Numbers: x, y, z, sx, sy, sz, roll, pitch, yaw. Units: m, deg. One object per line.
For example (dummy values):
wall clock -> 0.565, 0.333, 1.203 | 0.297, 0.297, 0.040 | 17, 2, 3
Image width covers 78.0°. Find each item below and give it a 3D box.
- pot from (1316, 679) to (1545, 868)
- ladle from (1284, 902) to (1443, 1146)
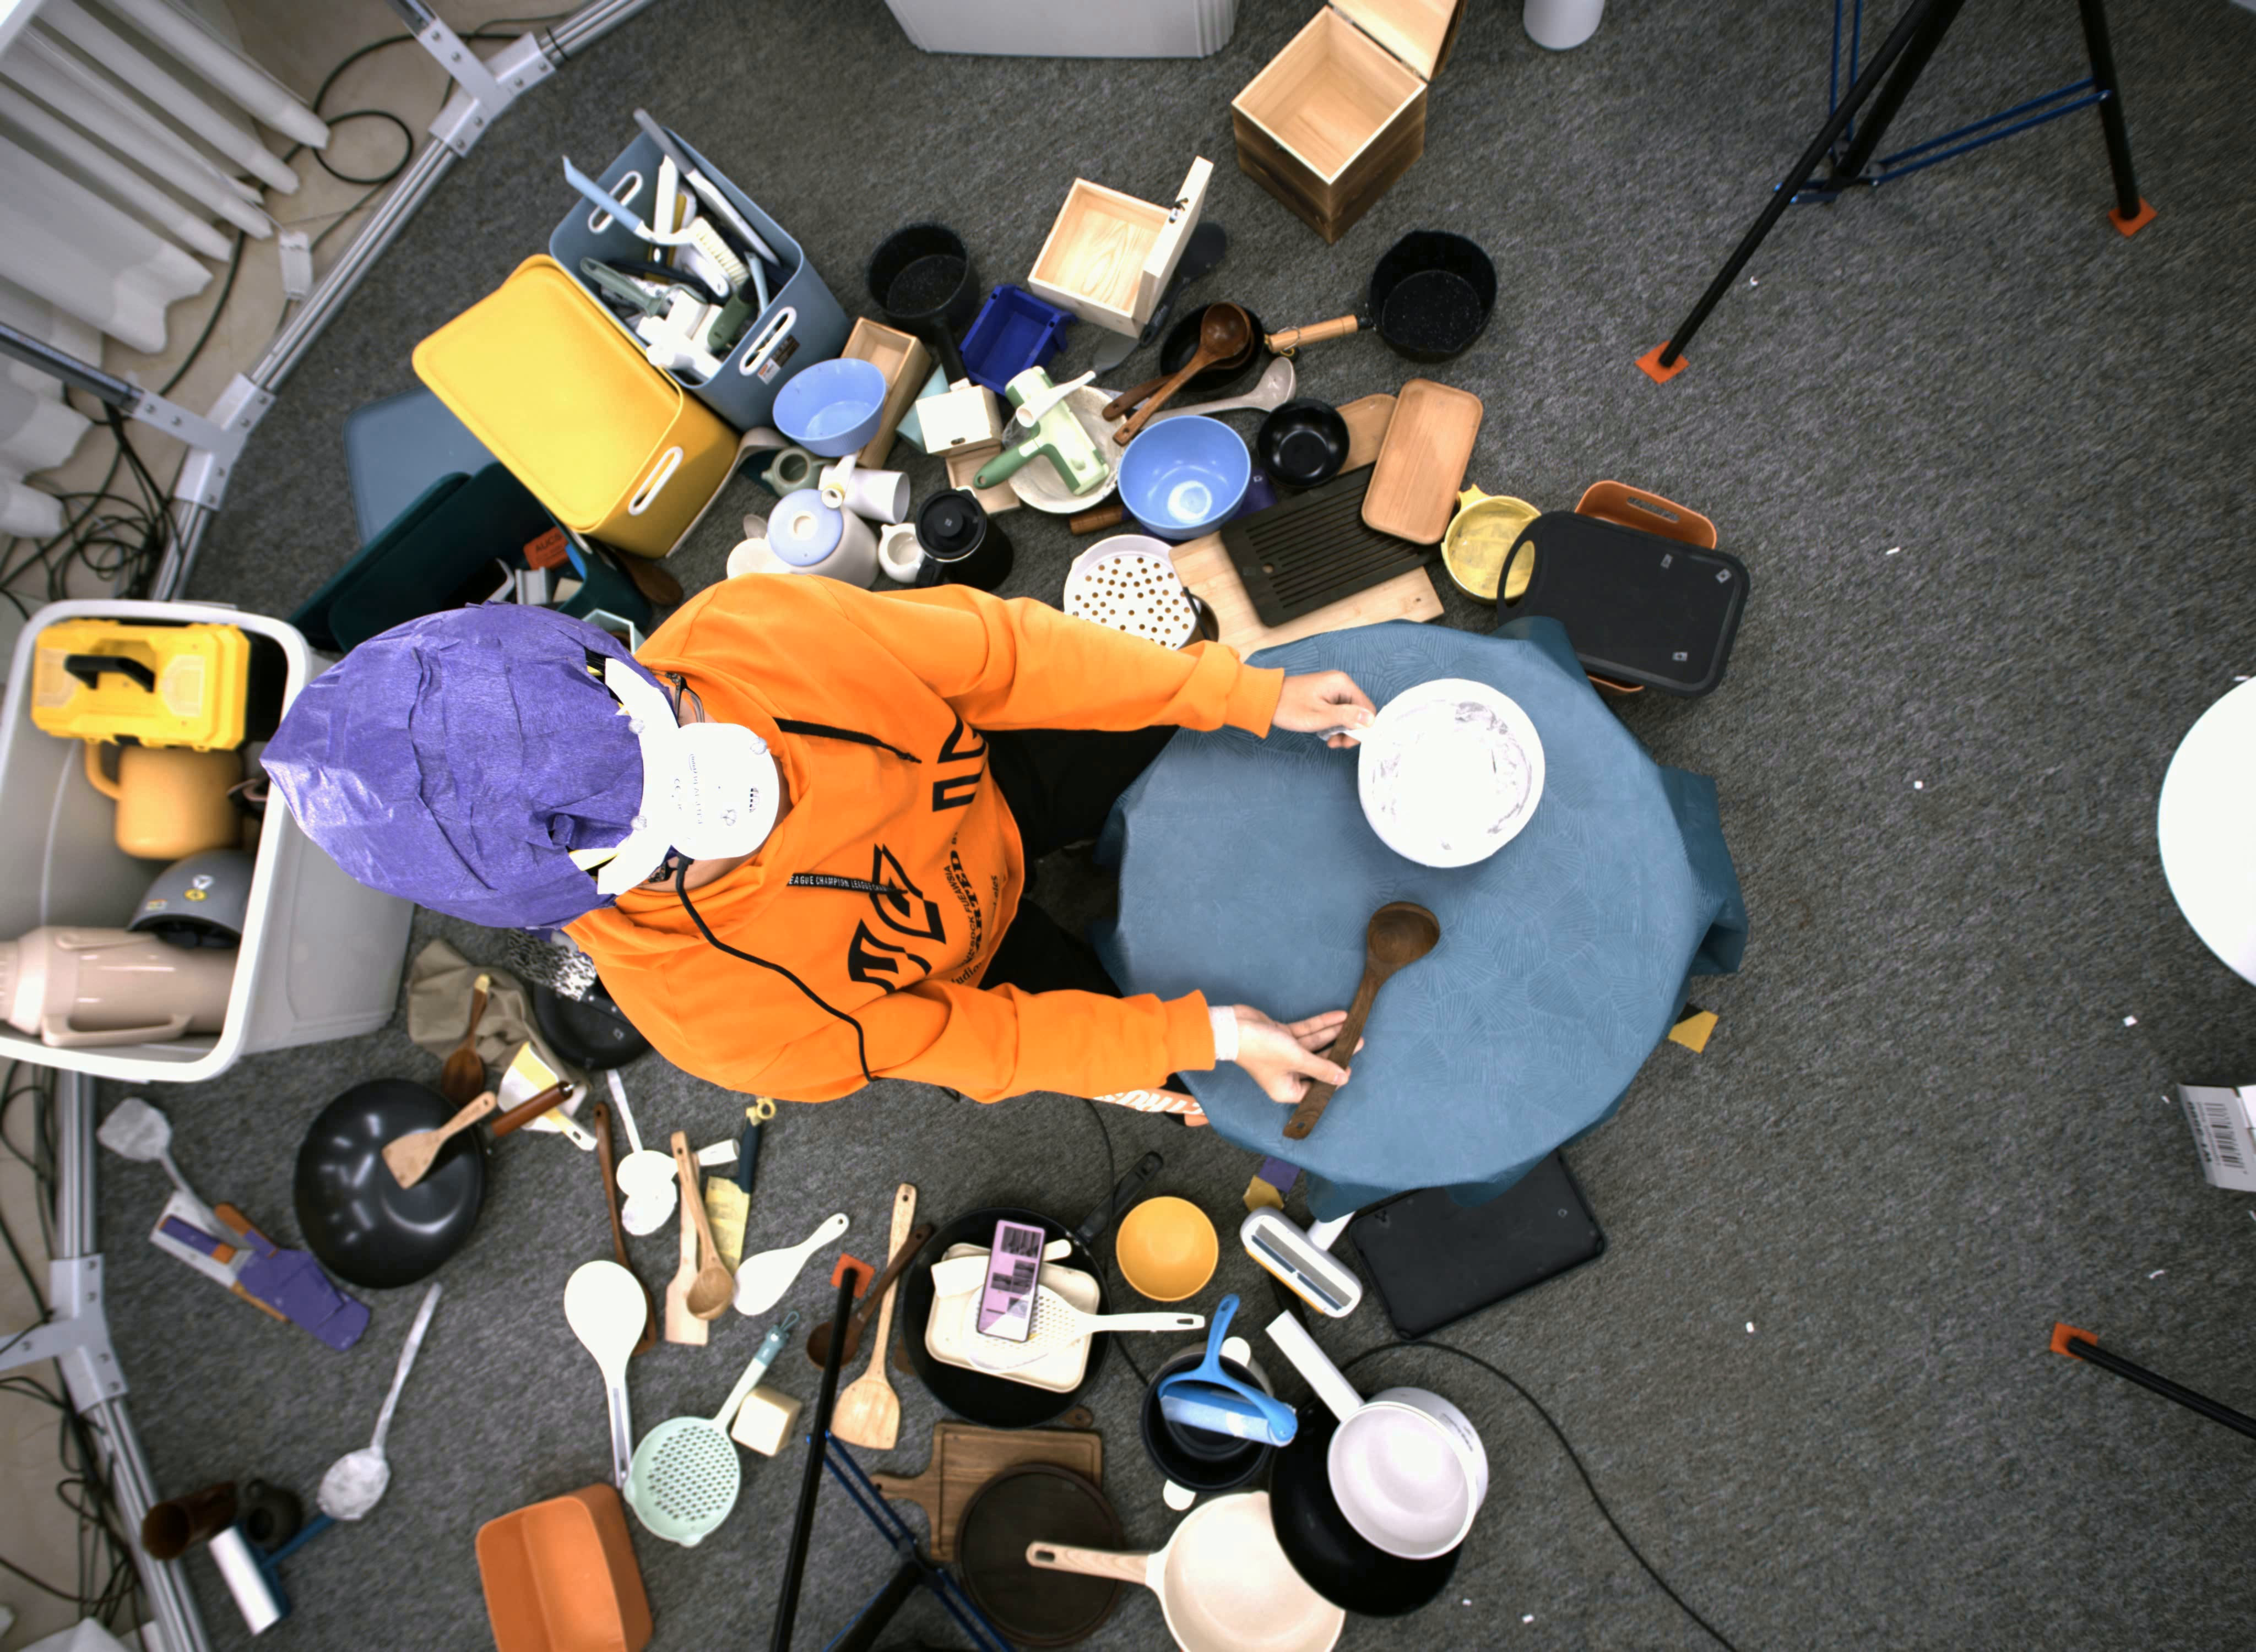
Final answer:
pot -> 0.297, -0.063, 1.392 | 0.233, 0.137, 0.179 | 27, 90, 10
ladle -> 0.237, 0.204, 1.416 | 0.076, 0.071, 0.273 | 27, 86, -5
